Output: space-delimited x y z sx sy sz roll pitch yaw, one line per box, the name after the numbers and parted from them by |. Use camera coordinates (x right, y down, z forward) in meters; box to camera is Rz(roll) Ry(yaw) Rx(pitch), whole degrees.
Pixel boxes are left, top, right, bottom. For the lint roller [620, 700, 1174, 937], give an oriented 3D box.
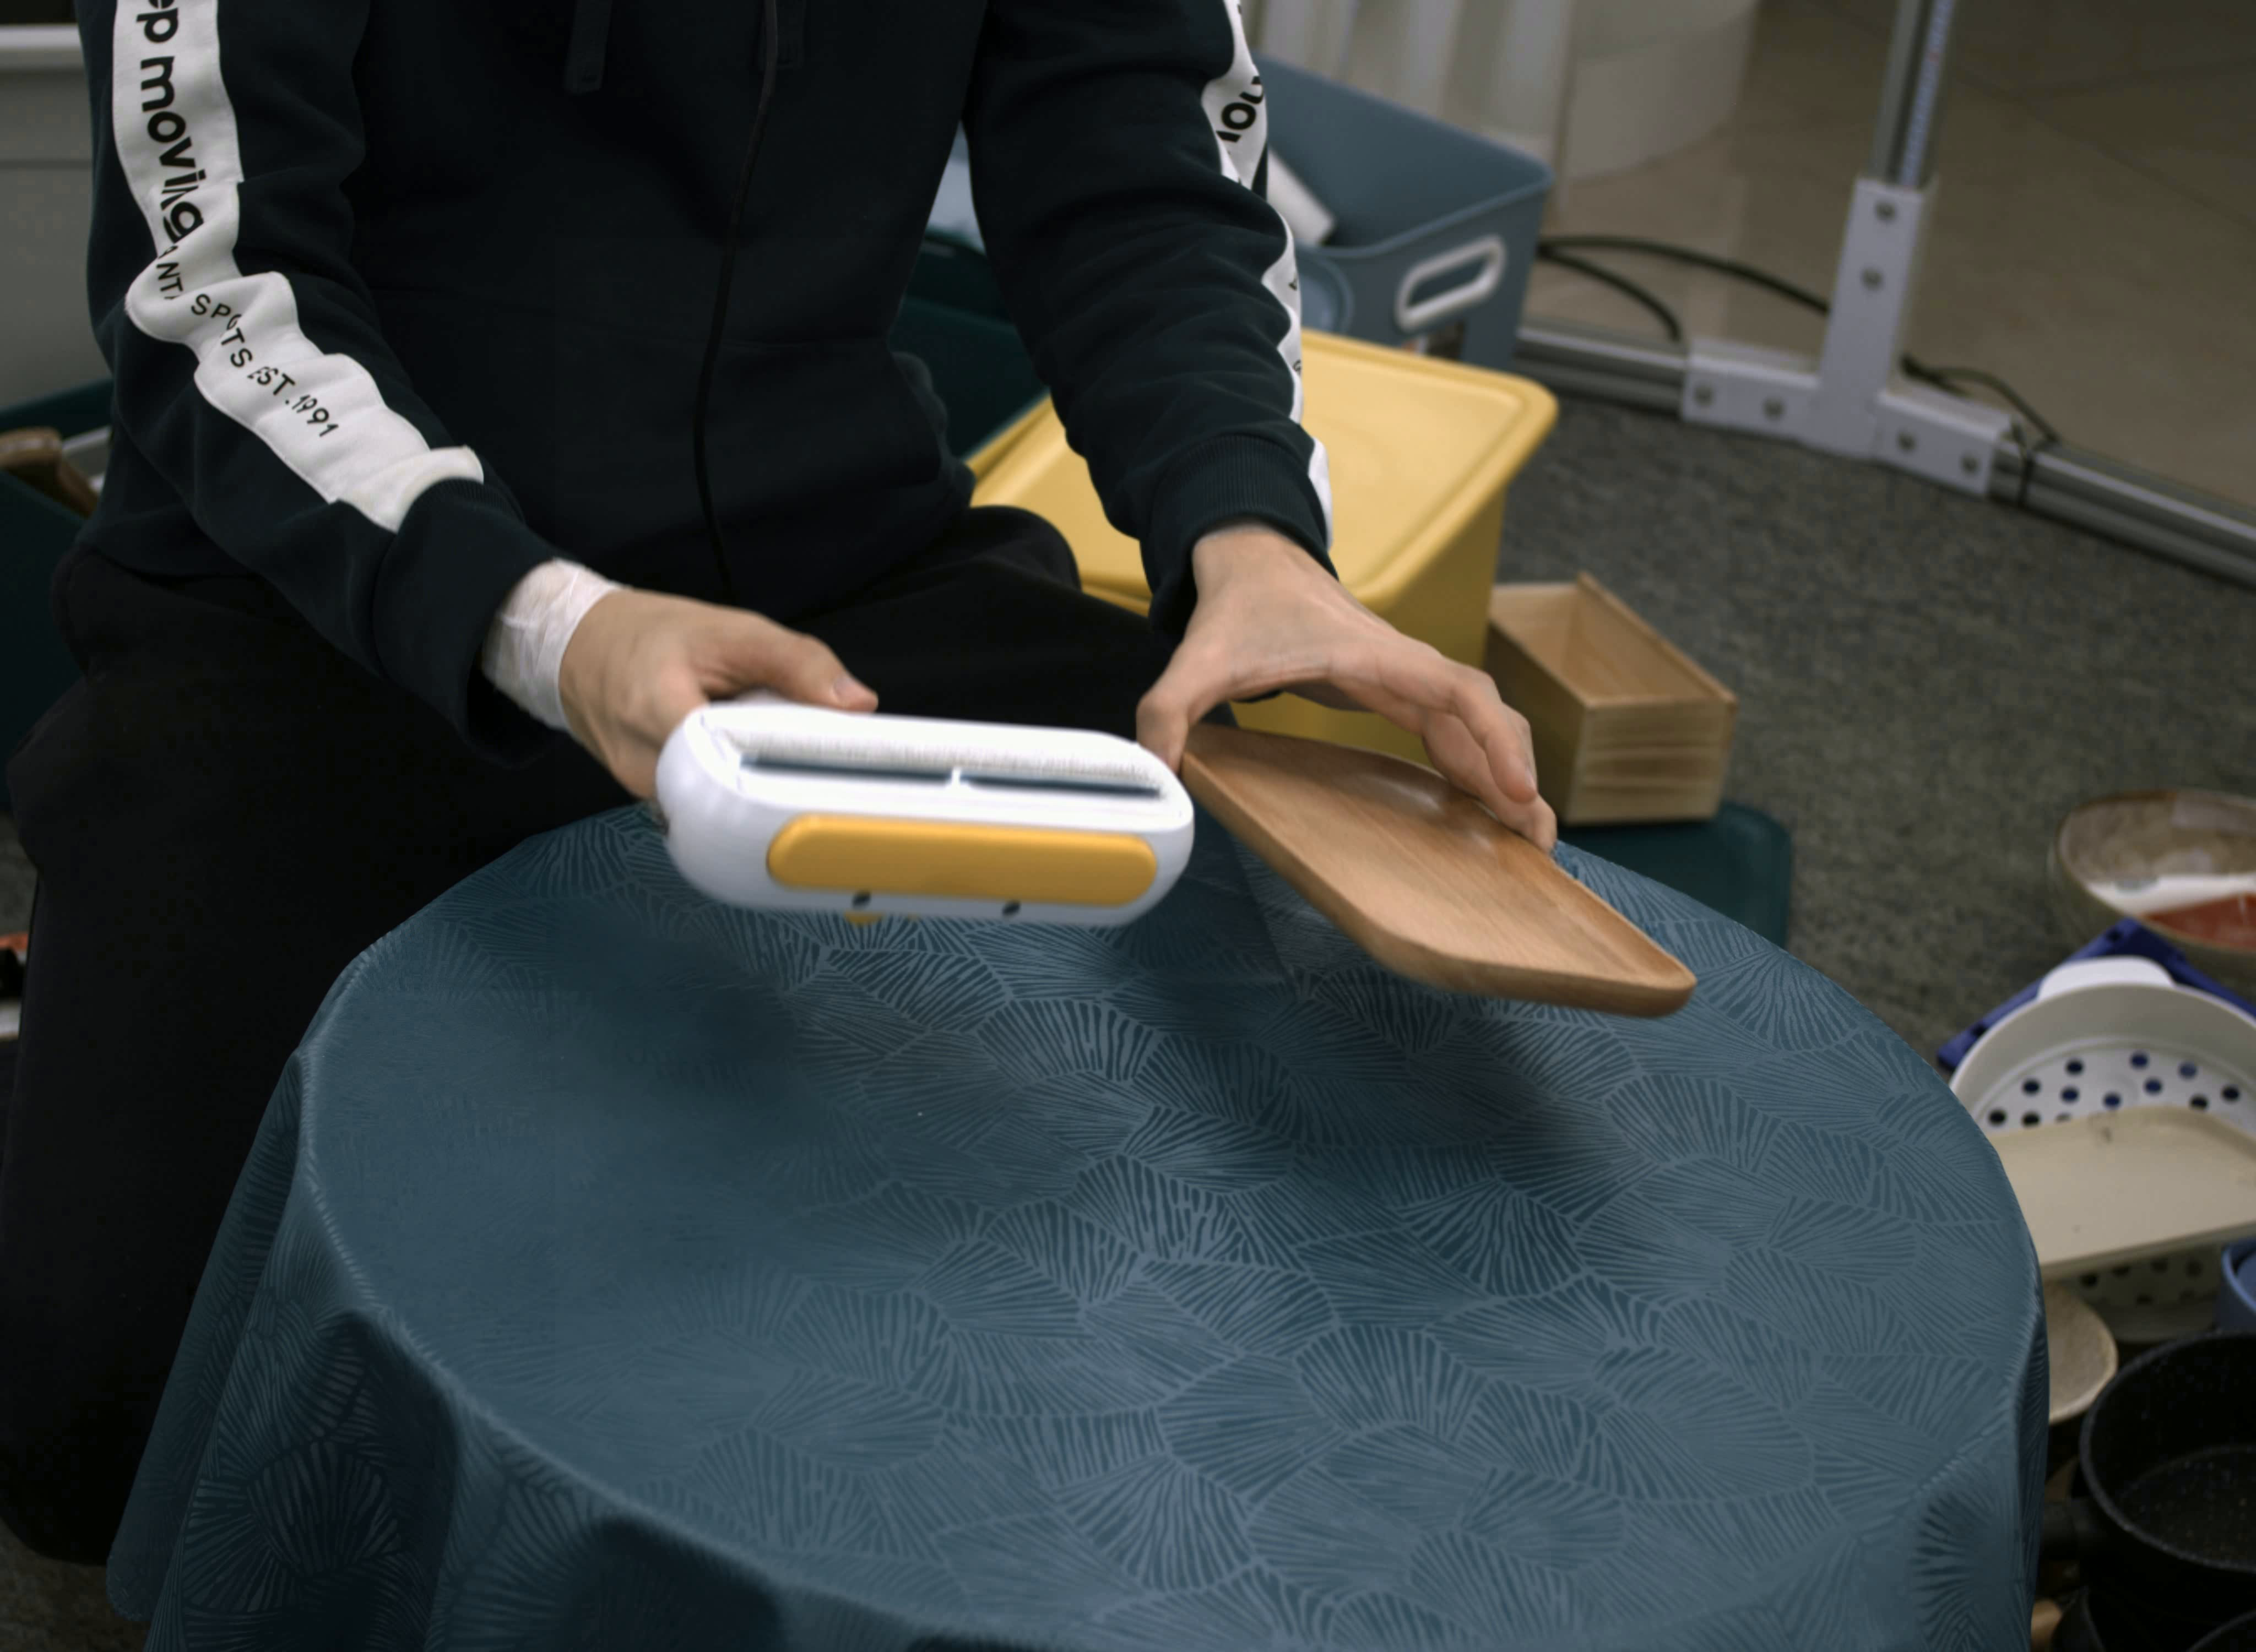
-0.099 -0.008 1.841 0.191 0.074 0.193 4 10 -23 | lint roller

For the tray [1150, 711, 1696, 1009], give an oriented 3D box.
0.100 0.011 1.897 0.129 0.023 0.252 12 14 -24 | tray
